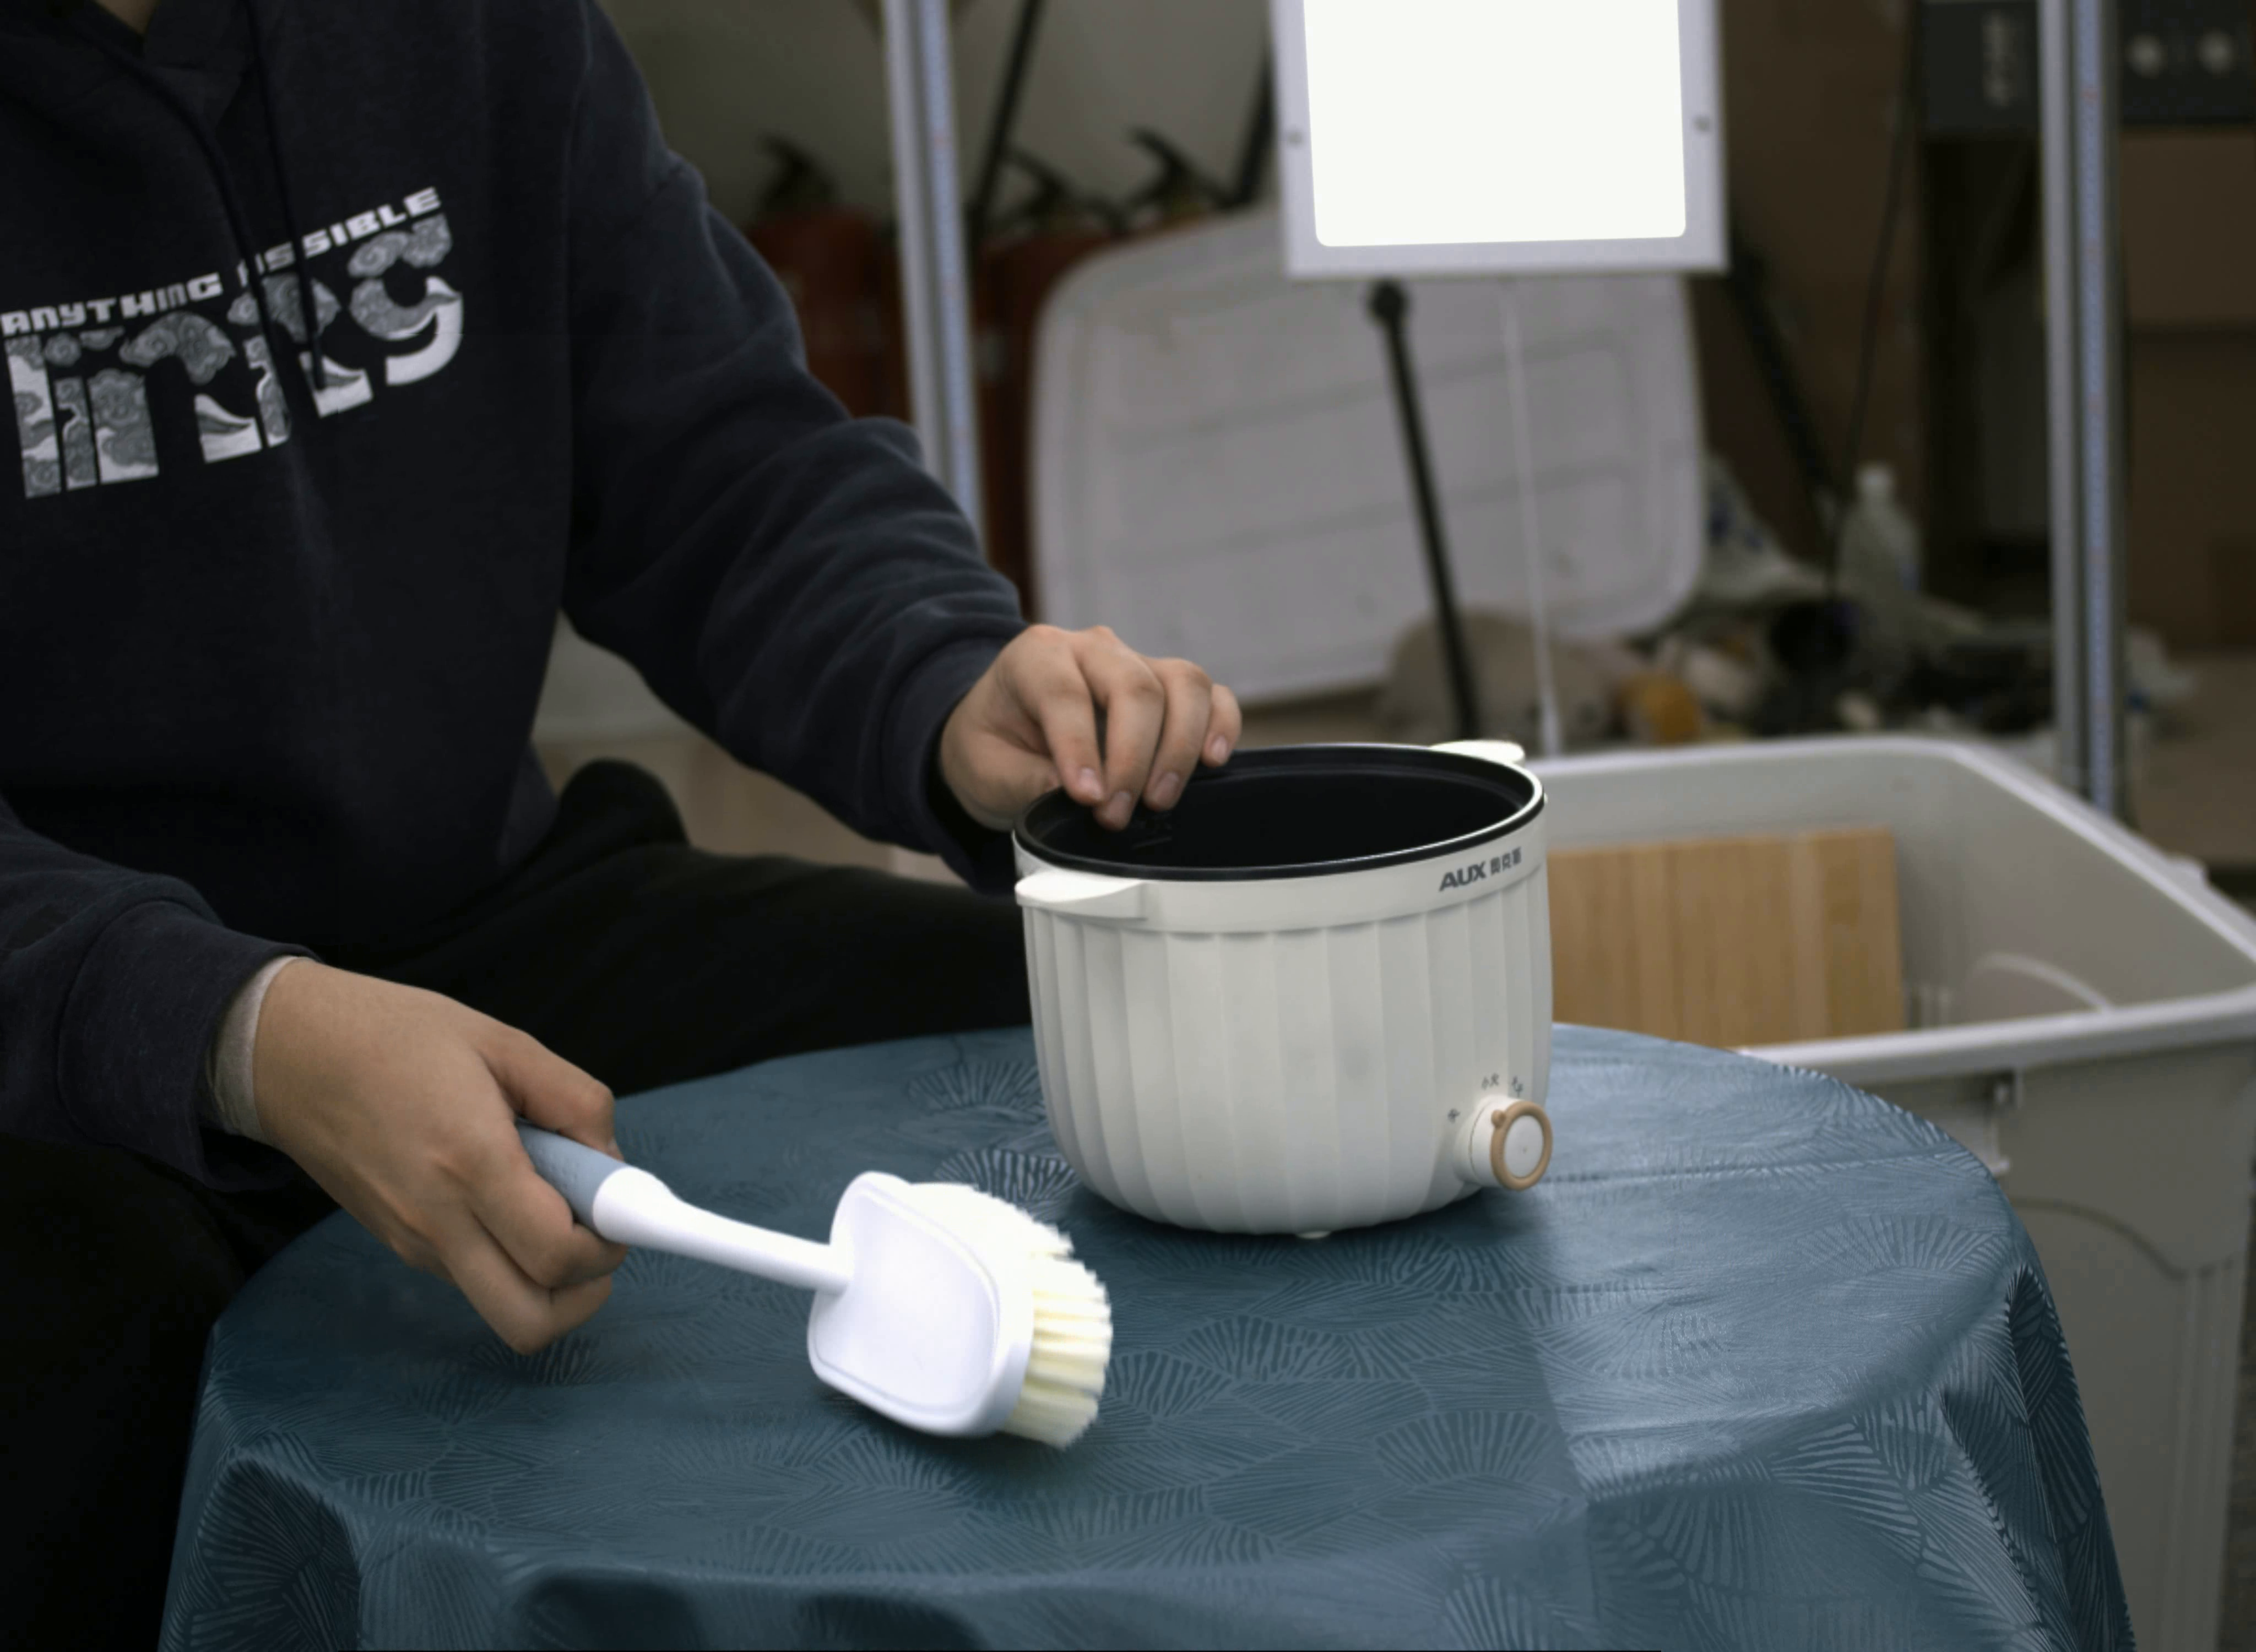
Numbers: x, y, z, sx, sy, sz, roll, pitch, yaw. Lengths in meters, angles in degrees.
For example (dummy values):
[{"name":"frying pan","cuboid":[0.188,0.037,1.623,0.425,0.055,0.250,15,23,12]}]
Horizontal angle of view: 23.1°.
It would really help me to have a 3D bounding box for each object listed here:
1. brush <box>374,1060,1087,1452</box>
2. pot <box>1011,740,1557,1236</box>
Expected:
[{"name":"brush","cuboid":[-0.117,0.124,1.748,0.332,0.084,0.082,20,63,47]},{"name":"pot","cuboid":[0.061,0.057,1.871,0.195,0.143,0.234,4,17,45]}]
